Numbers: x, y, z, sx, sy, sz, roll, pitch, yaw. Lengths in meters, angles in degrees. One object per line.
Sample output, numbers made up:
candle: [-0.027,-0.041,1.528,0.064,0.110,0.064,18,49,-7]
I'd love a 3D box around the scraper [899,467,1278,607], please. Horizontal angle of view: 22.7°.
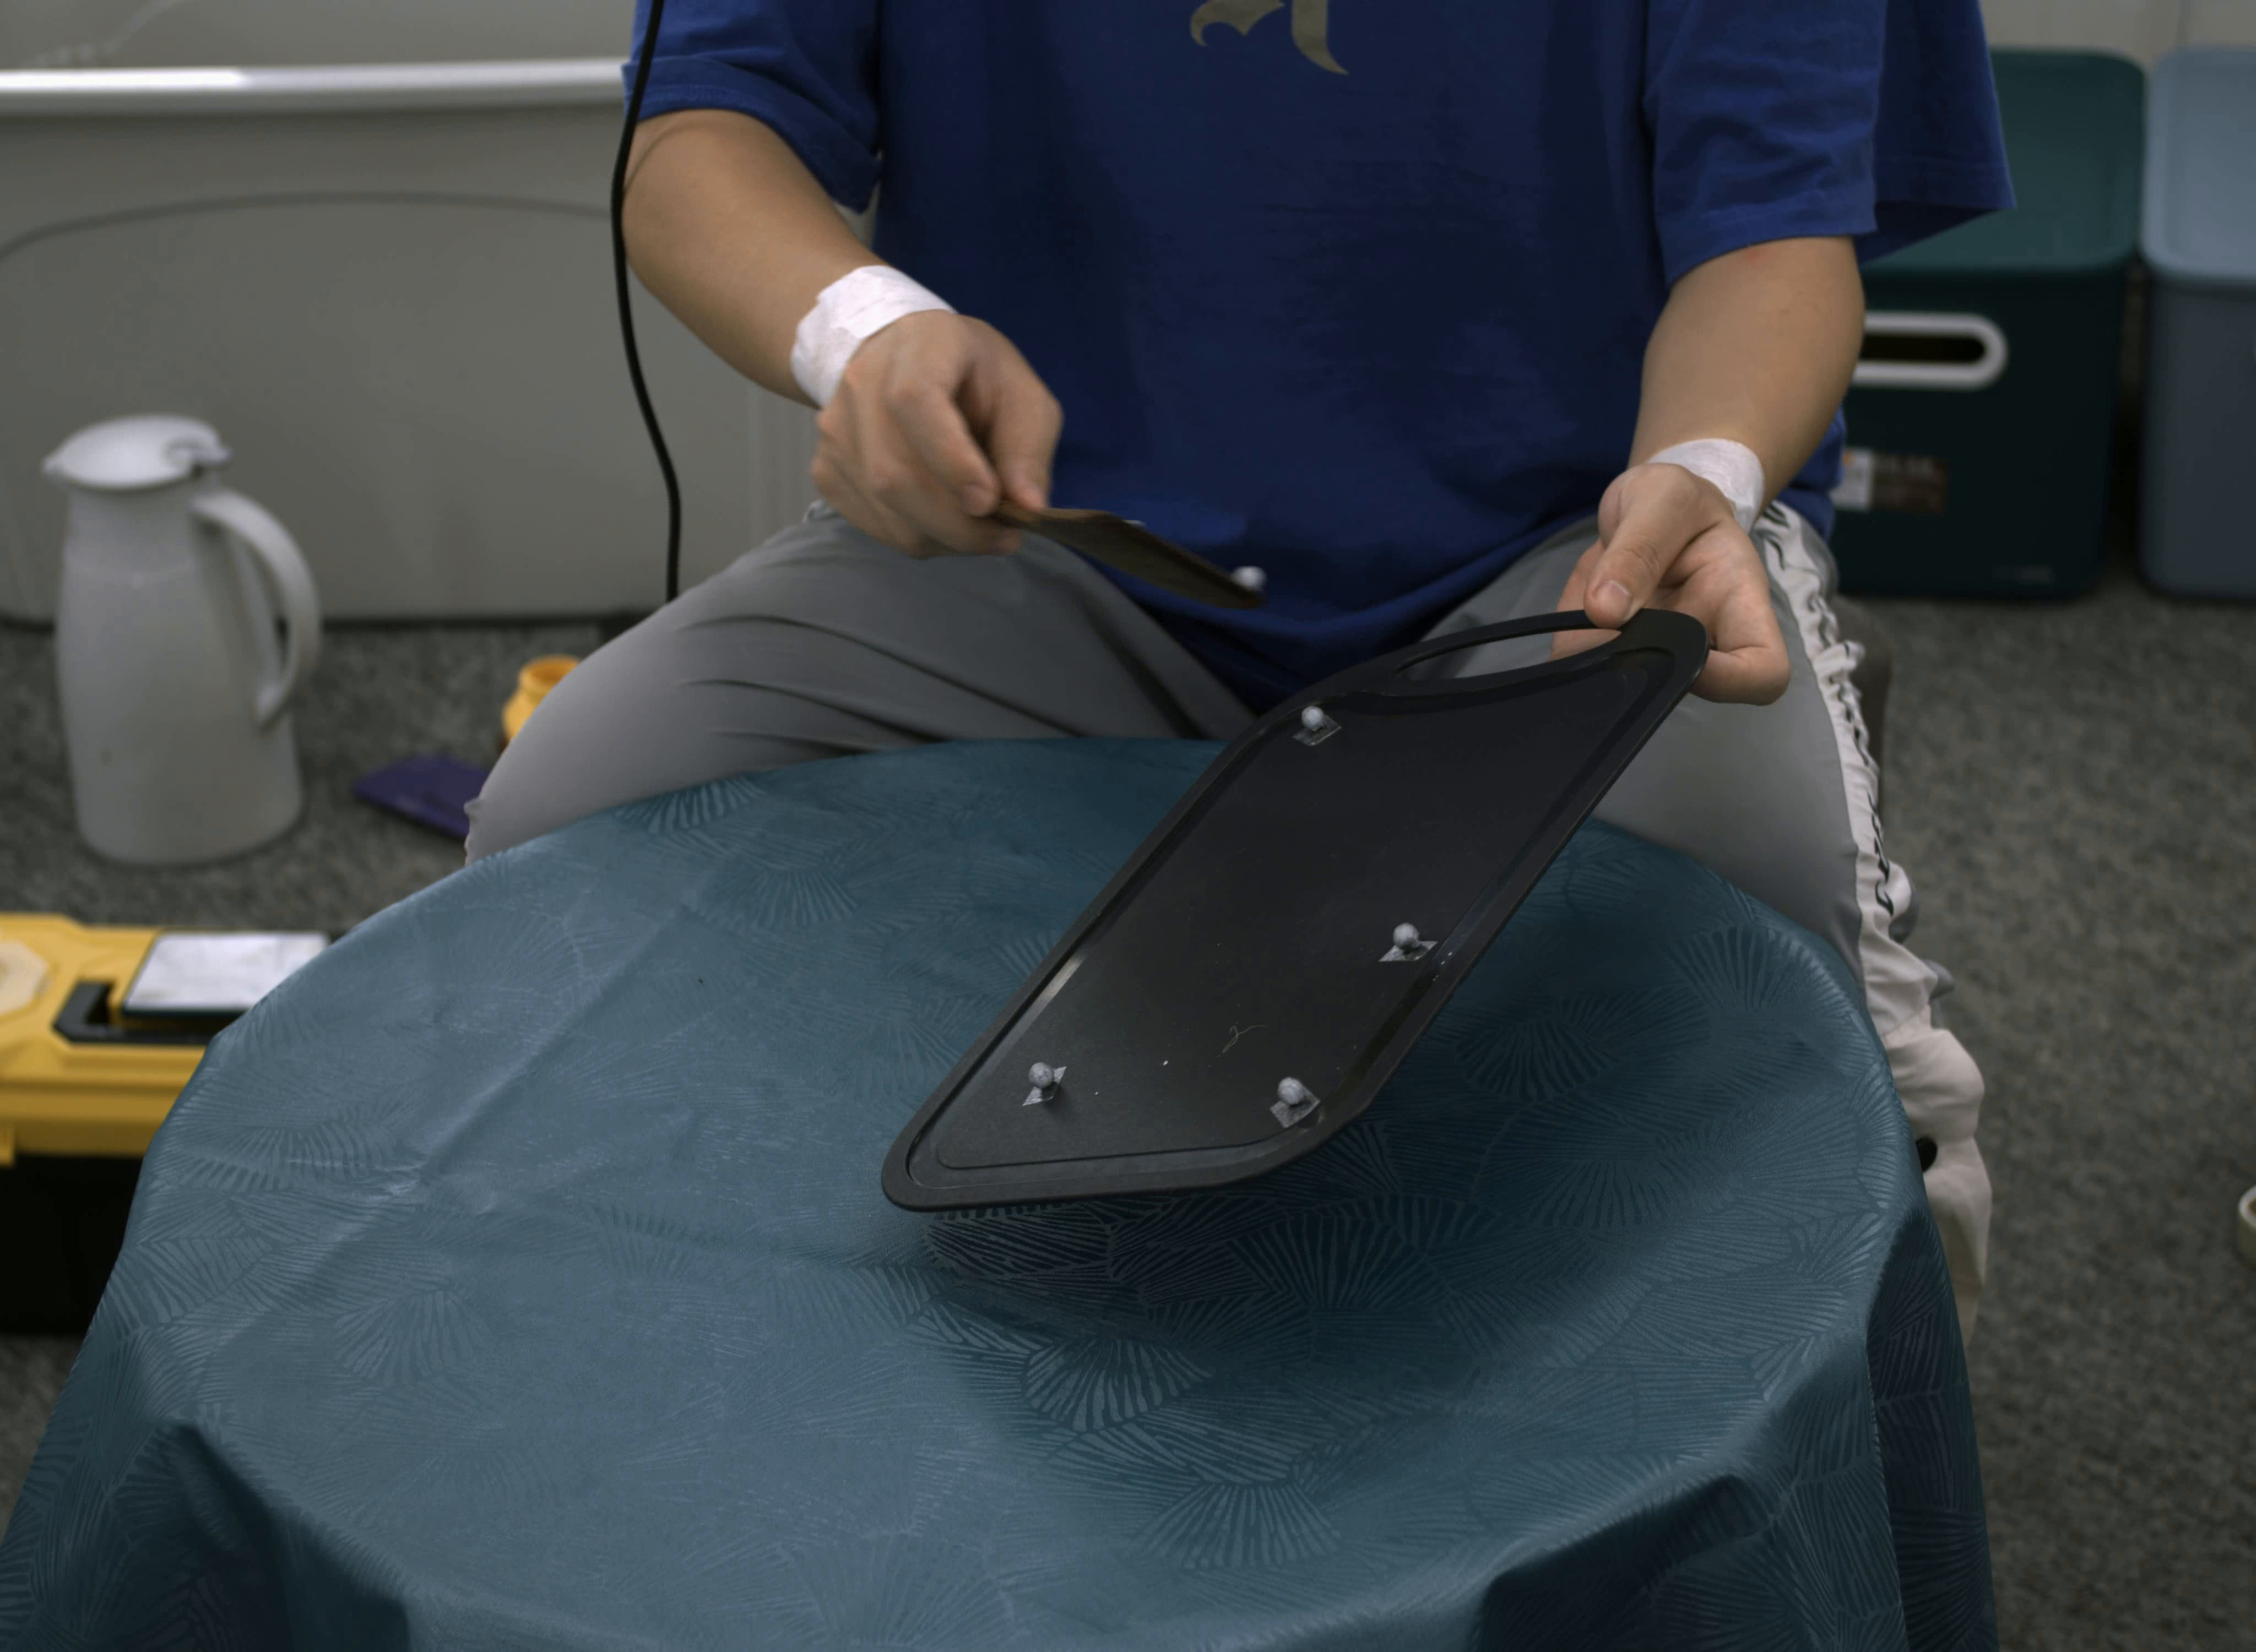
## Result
scraper: [-0.025,-0.104,1.932,0.075,0.011,0.211,27,-3,-30]

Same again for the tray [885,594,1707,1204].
tray: [0.060,0.018,1.861,0.208,0.010,0.331,-9,30,43]
